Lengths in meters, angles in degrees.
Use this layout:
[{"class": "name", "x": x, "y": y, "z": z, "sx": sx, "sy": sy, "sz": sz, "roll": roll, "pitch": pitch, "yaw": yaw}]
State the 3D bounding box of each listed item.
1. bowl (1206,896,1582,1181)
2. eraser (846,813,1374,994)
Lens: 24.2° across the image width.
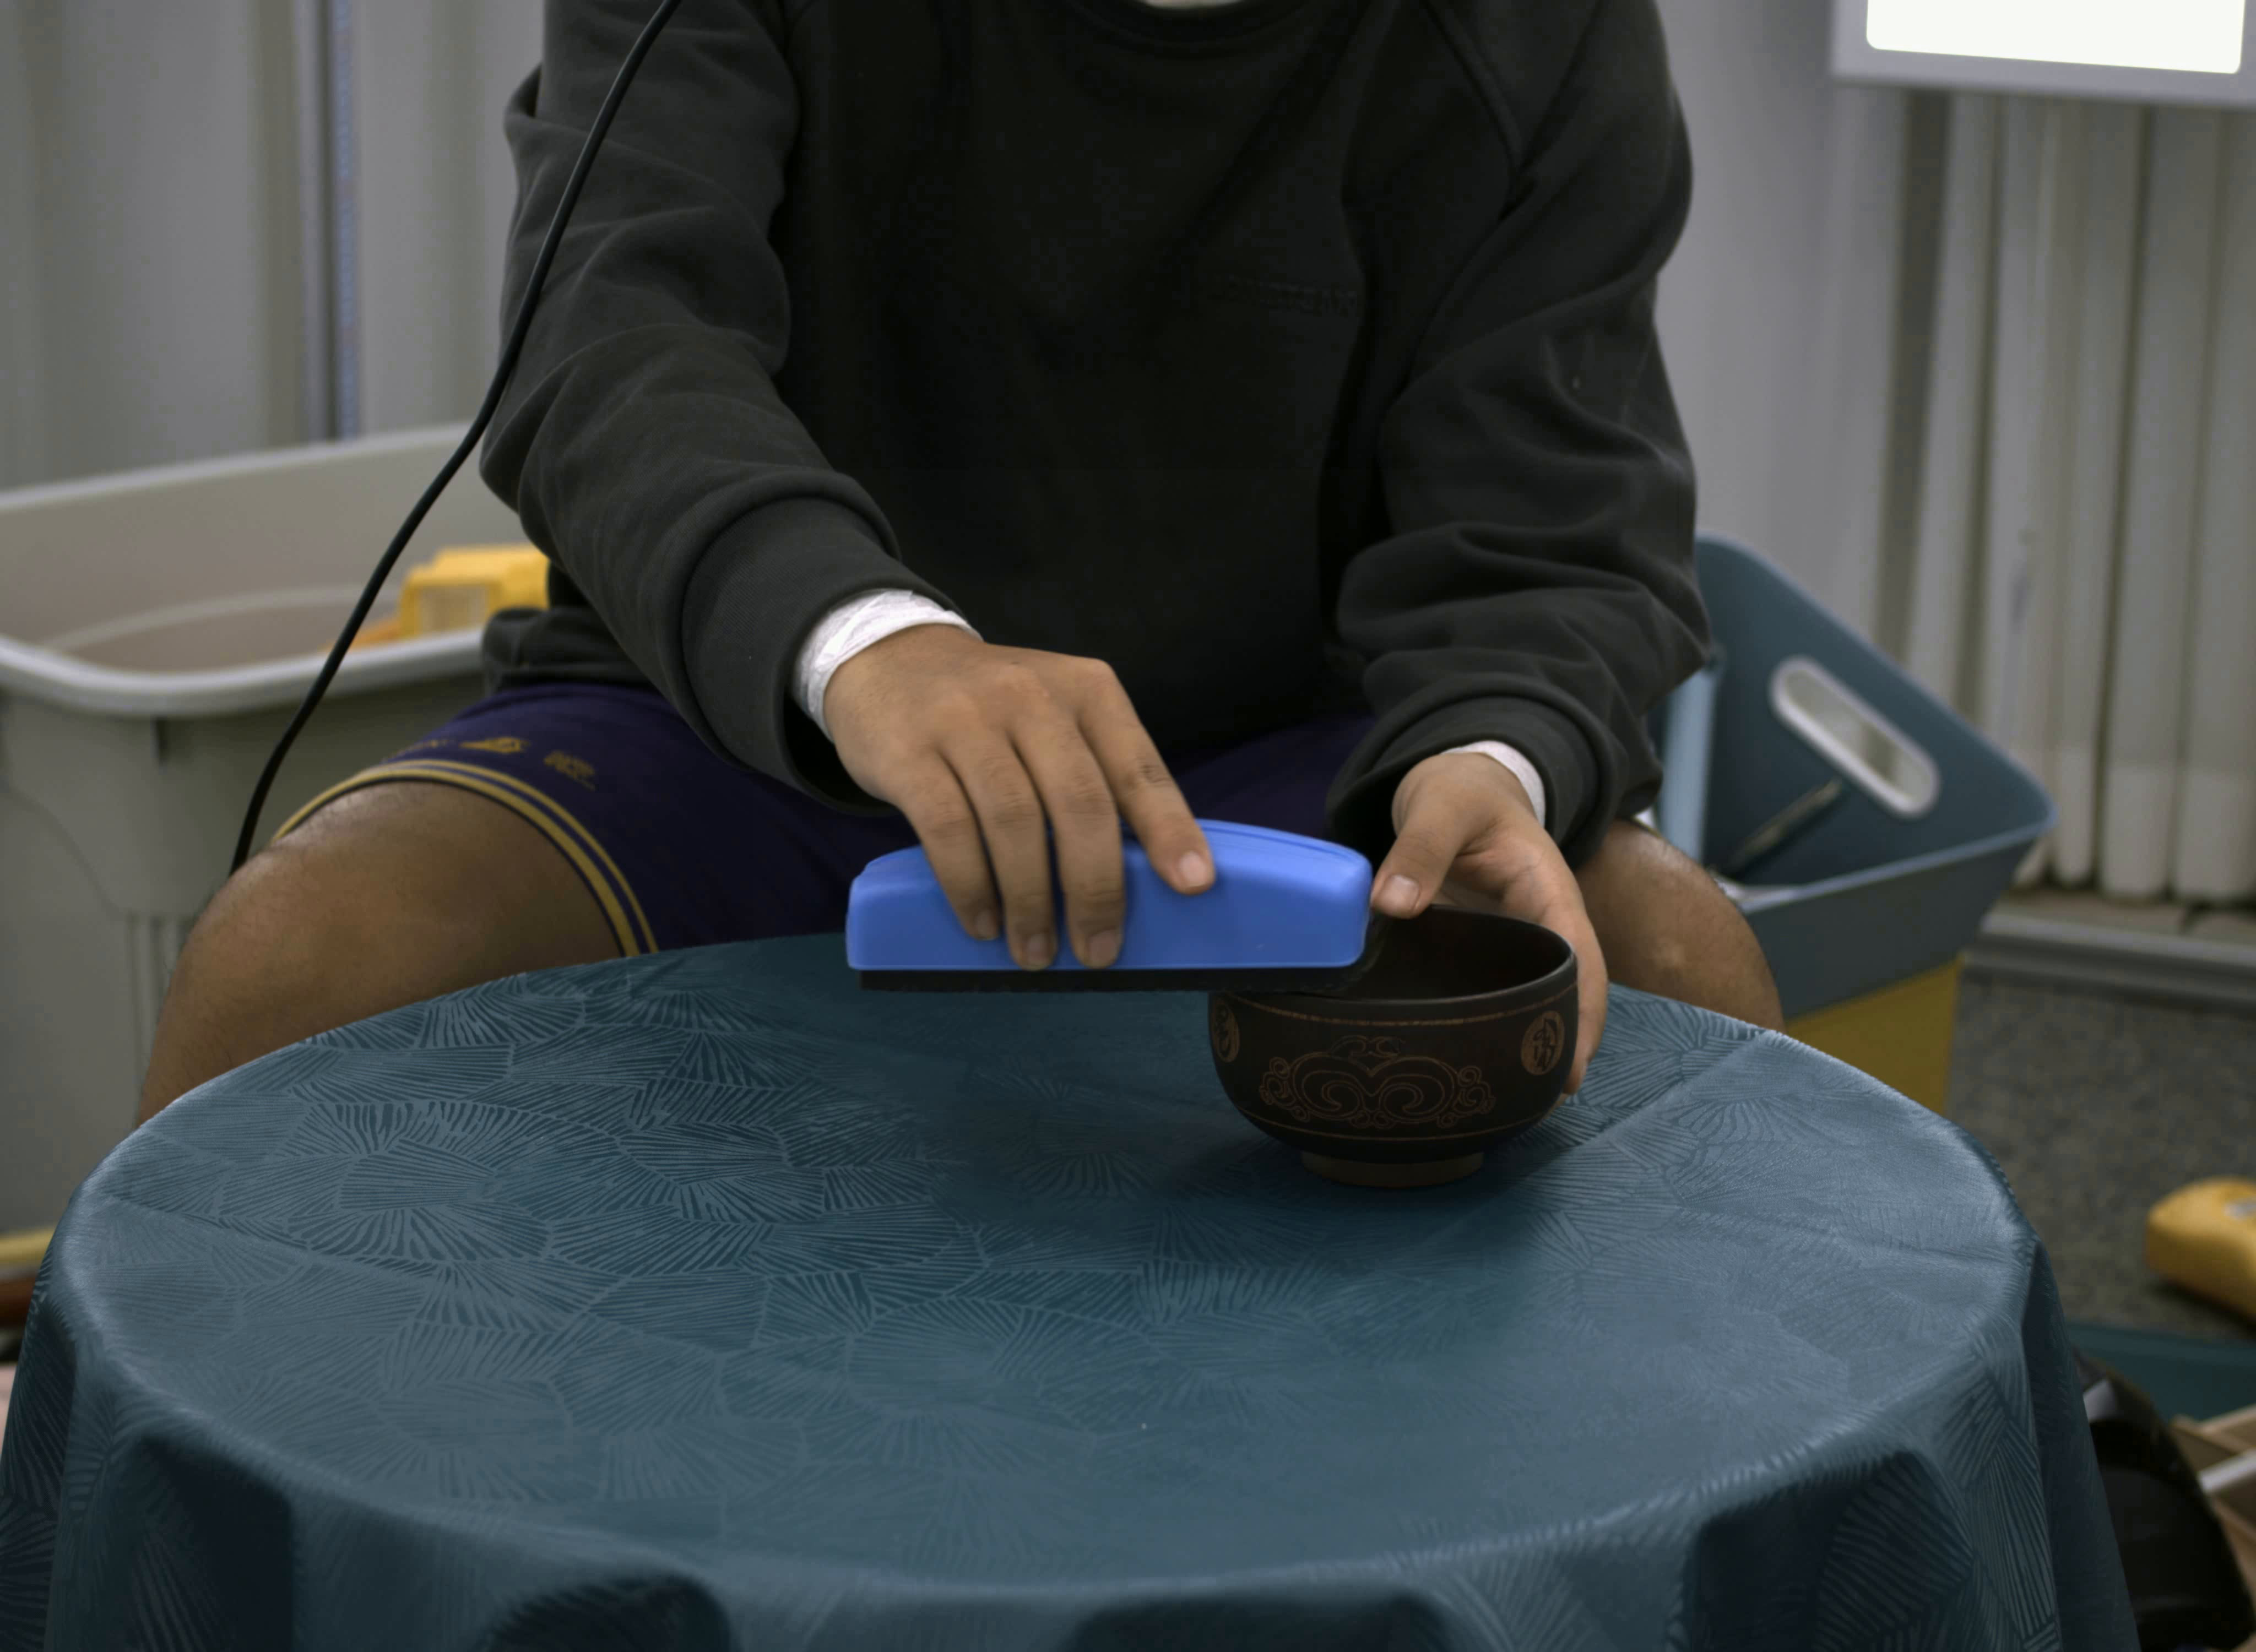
[{"class": "bowl", "x": 0.083, "y": 0.069, "z": 1.640, "sx": 0.117, "sy": 0.070, "sz": 0.117, "roll": 0, "pitch": 14, "yaw": 1}, {"class": "eraser", "x": -0.006, "y": 0.023, "z": 1.608, "sx": 0.161, "sy": 0.048, "sz": 0.053, "roll": -1, "pitch": 17, "yaw": 9}]
